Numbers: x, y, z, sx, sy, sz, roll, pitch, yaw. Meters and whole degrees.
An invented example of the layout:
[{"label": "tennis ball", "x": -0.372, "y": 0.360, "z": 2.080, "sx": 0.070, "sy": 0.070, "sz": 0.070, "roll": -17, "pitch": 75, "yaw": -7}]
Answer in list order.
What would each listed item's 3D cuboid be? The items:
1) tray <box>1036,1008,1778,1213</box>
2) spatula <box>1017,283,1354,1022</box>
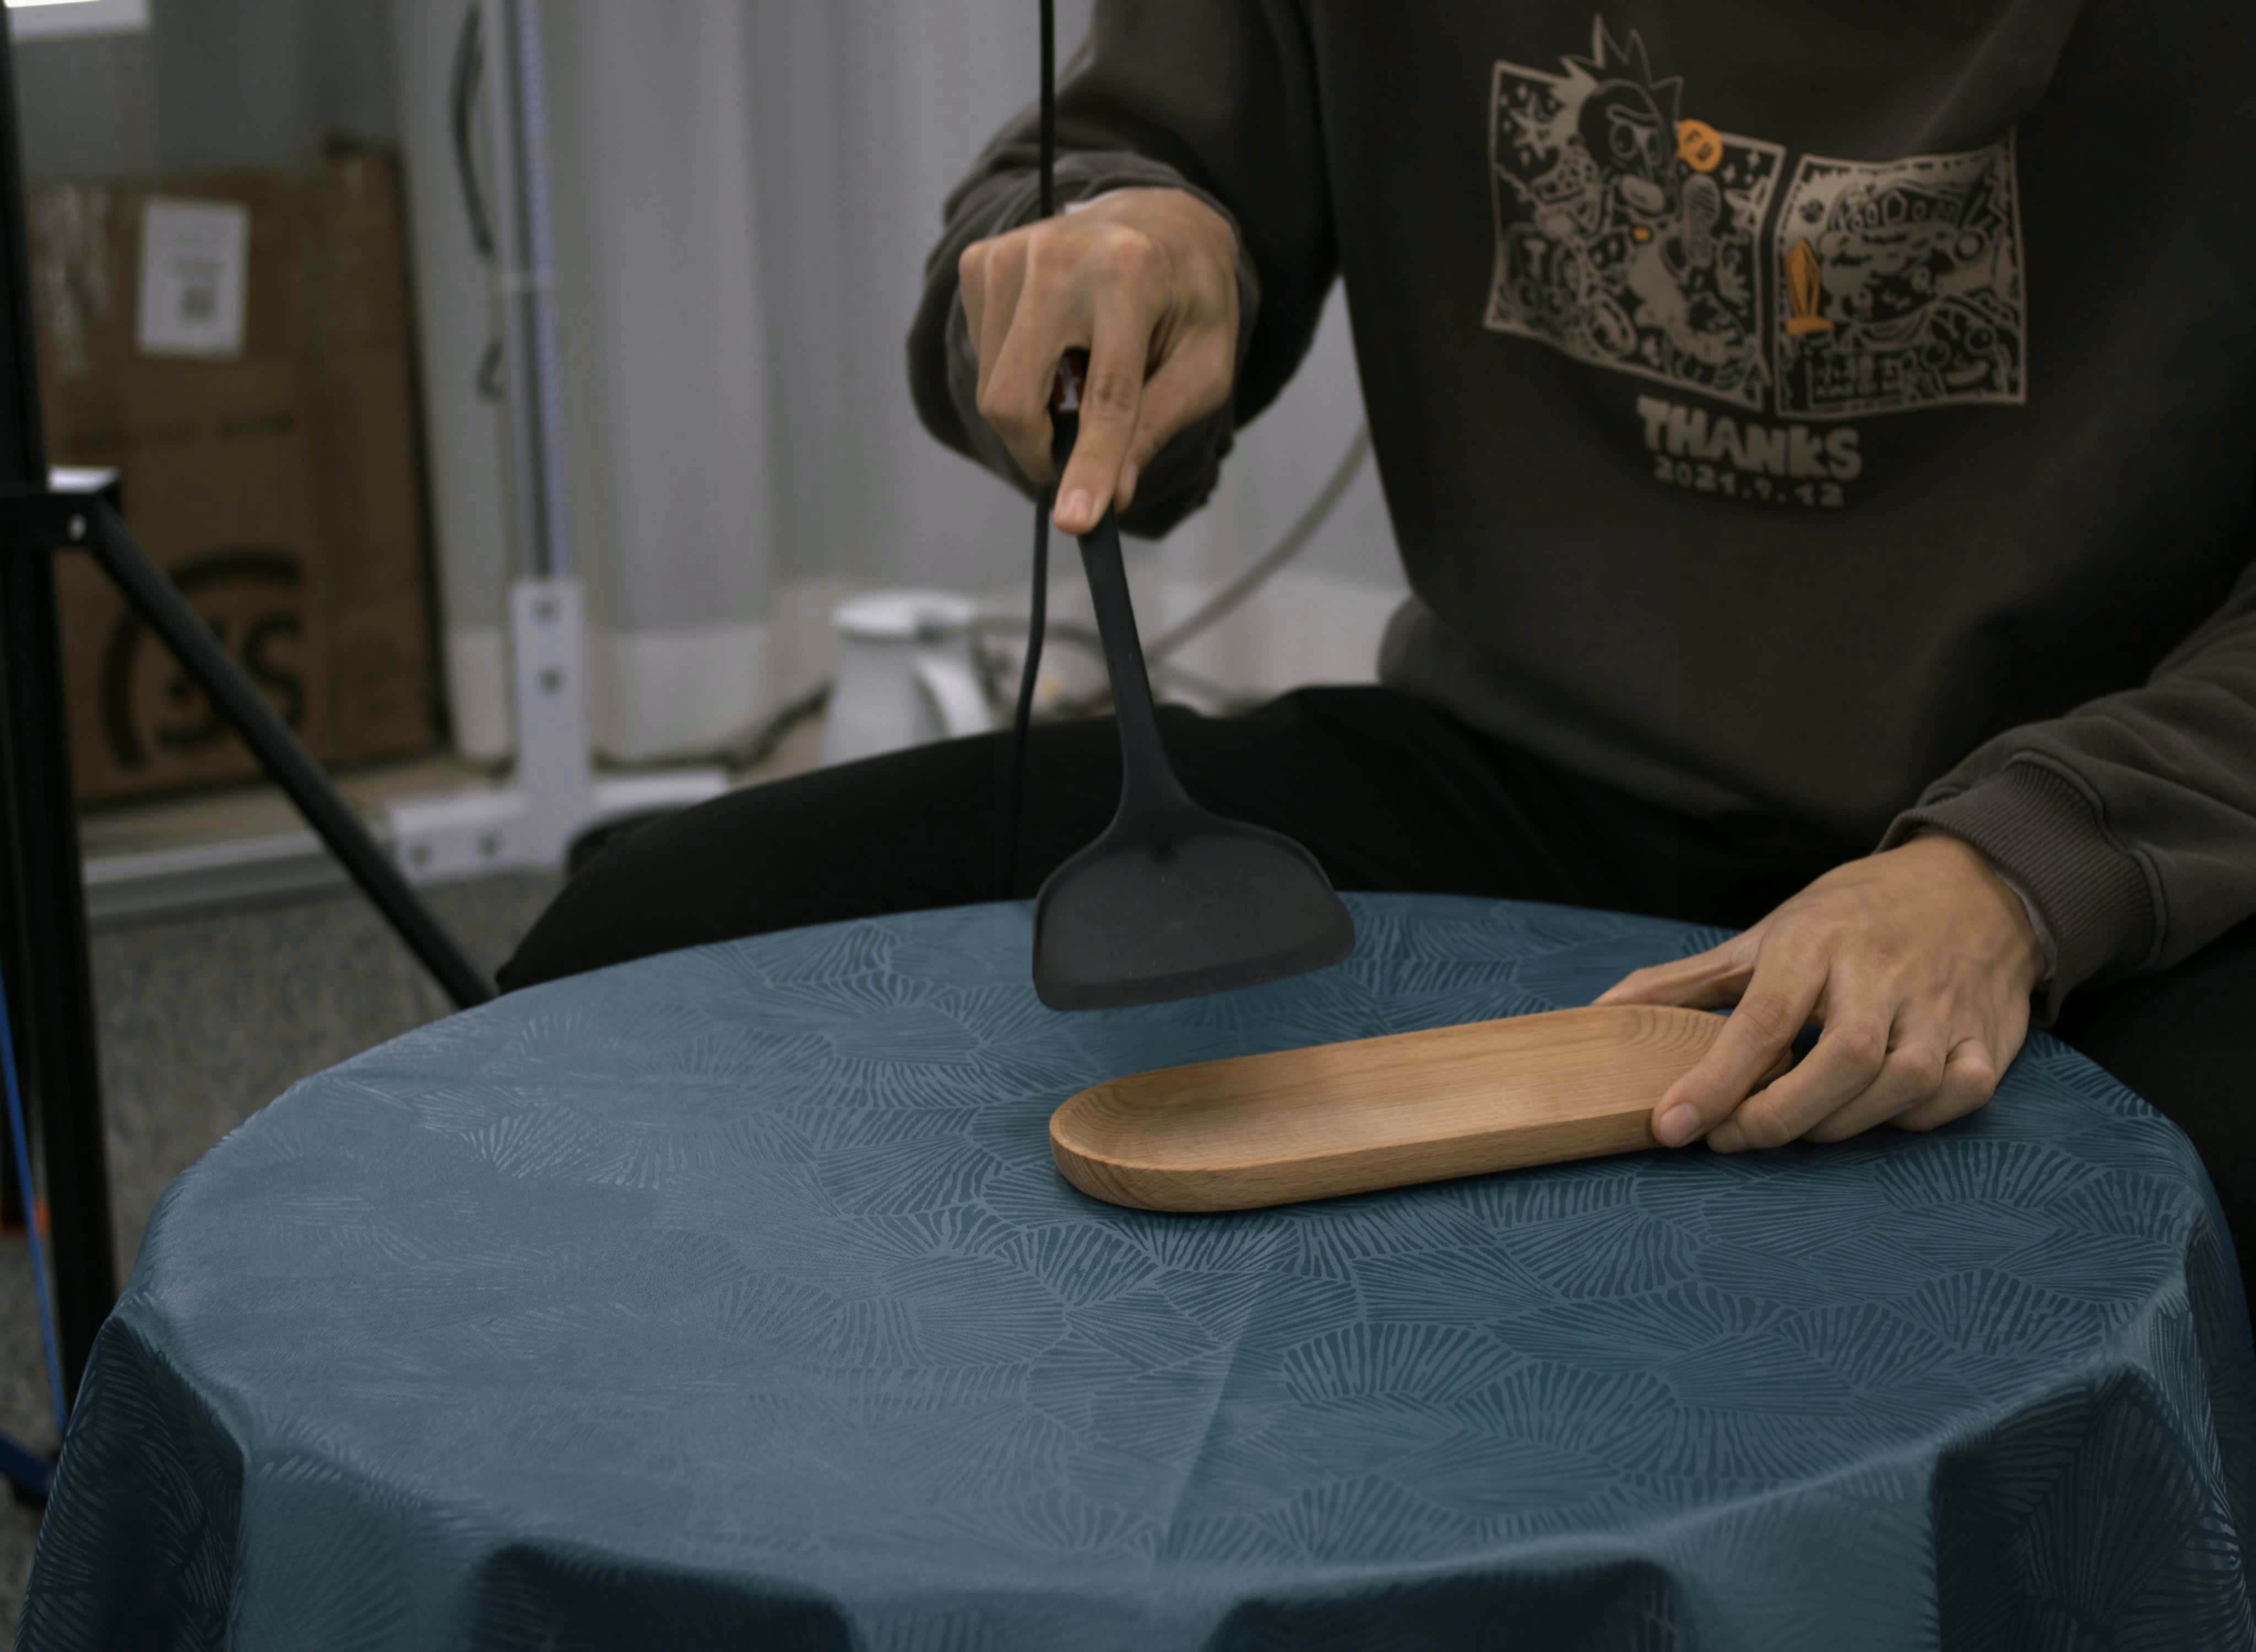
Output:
[{"label": "tray", "x": 0.085, "y": 0.086, "z": 1.596, "sx": 0.227, "sy": 0.020, "sz": 0.103, "roll": -8, "pitch": 15, "yaw": -14}, {"label": "spatula", "x": -0.004, "y": -0.063, "z": 1.680, "sx": 0.099, "sy": 0.040, "sz": 0.331, "roll": -10, "pitch": 52, "yaw": -2}]
